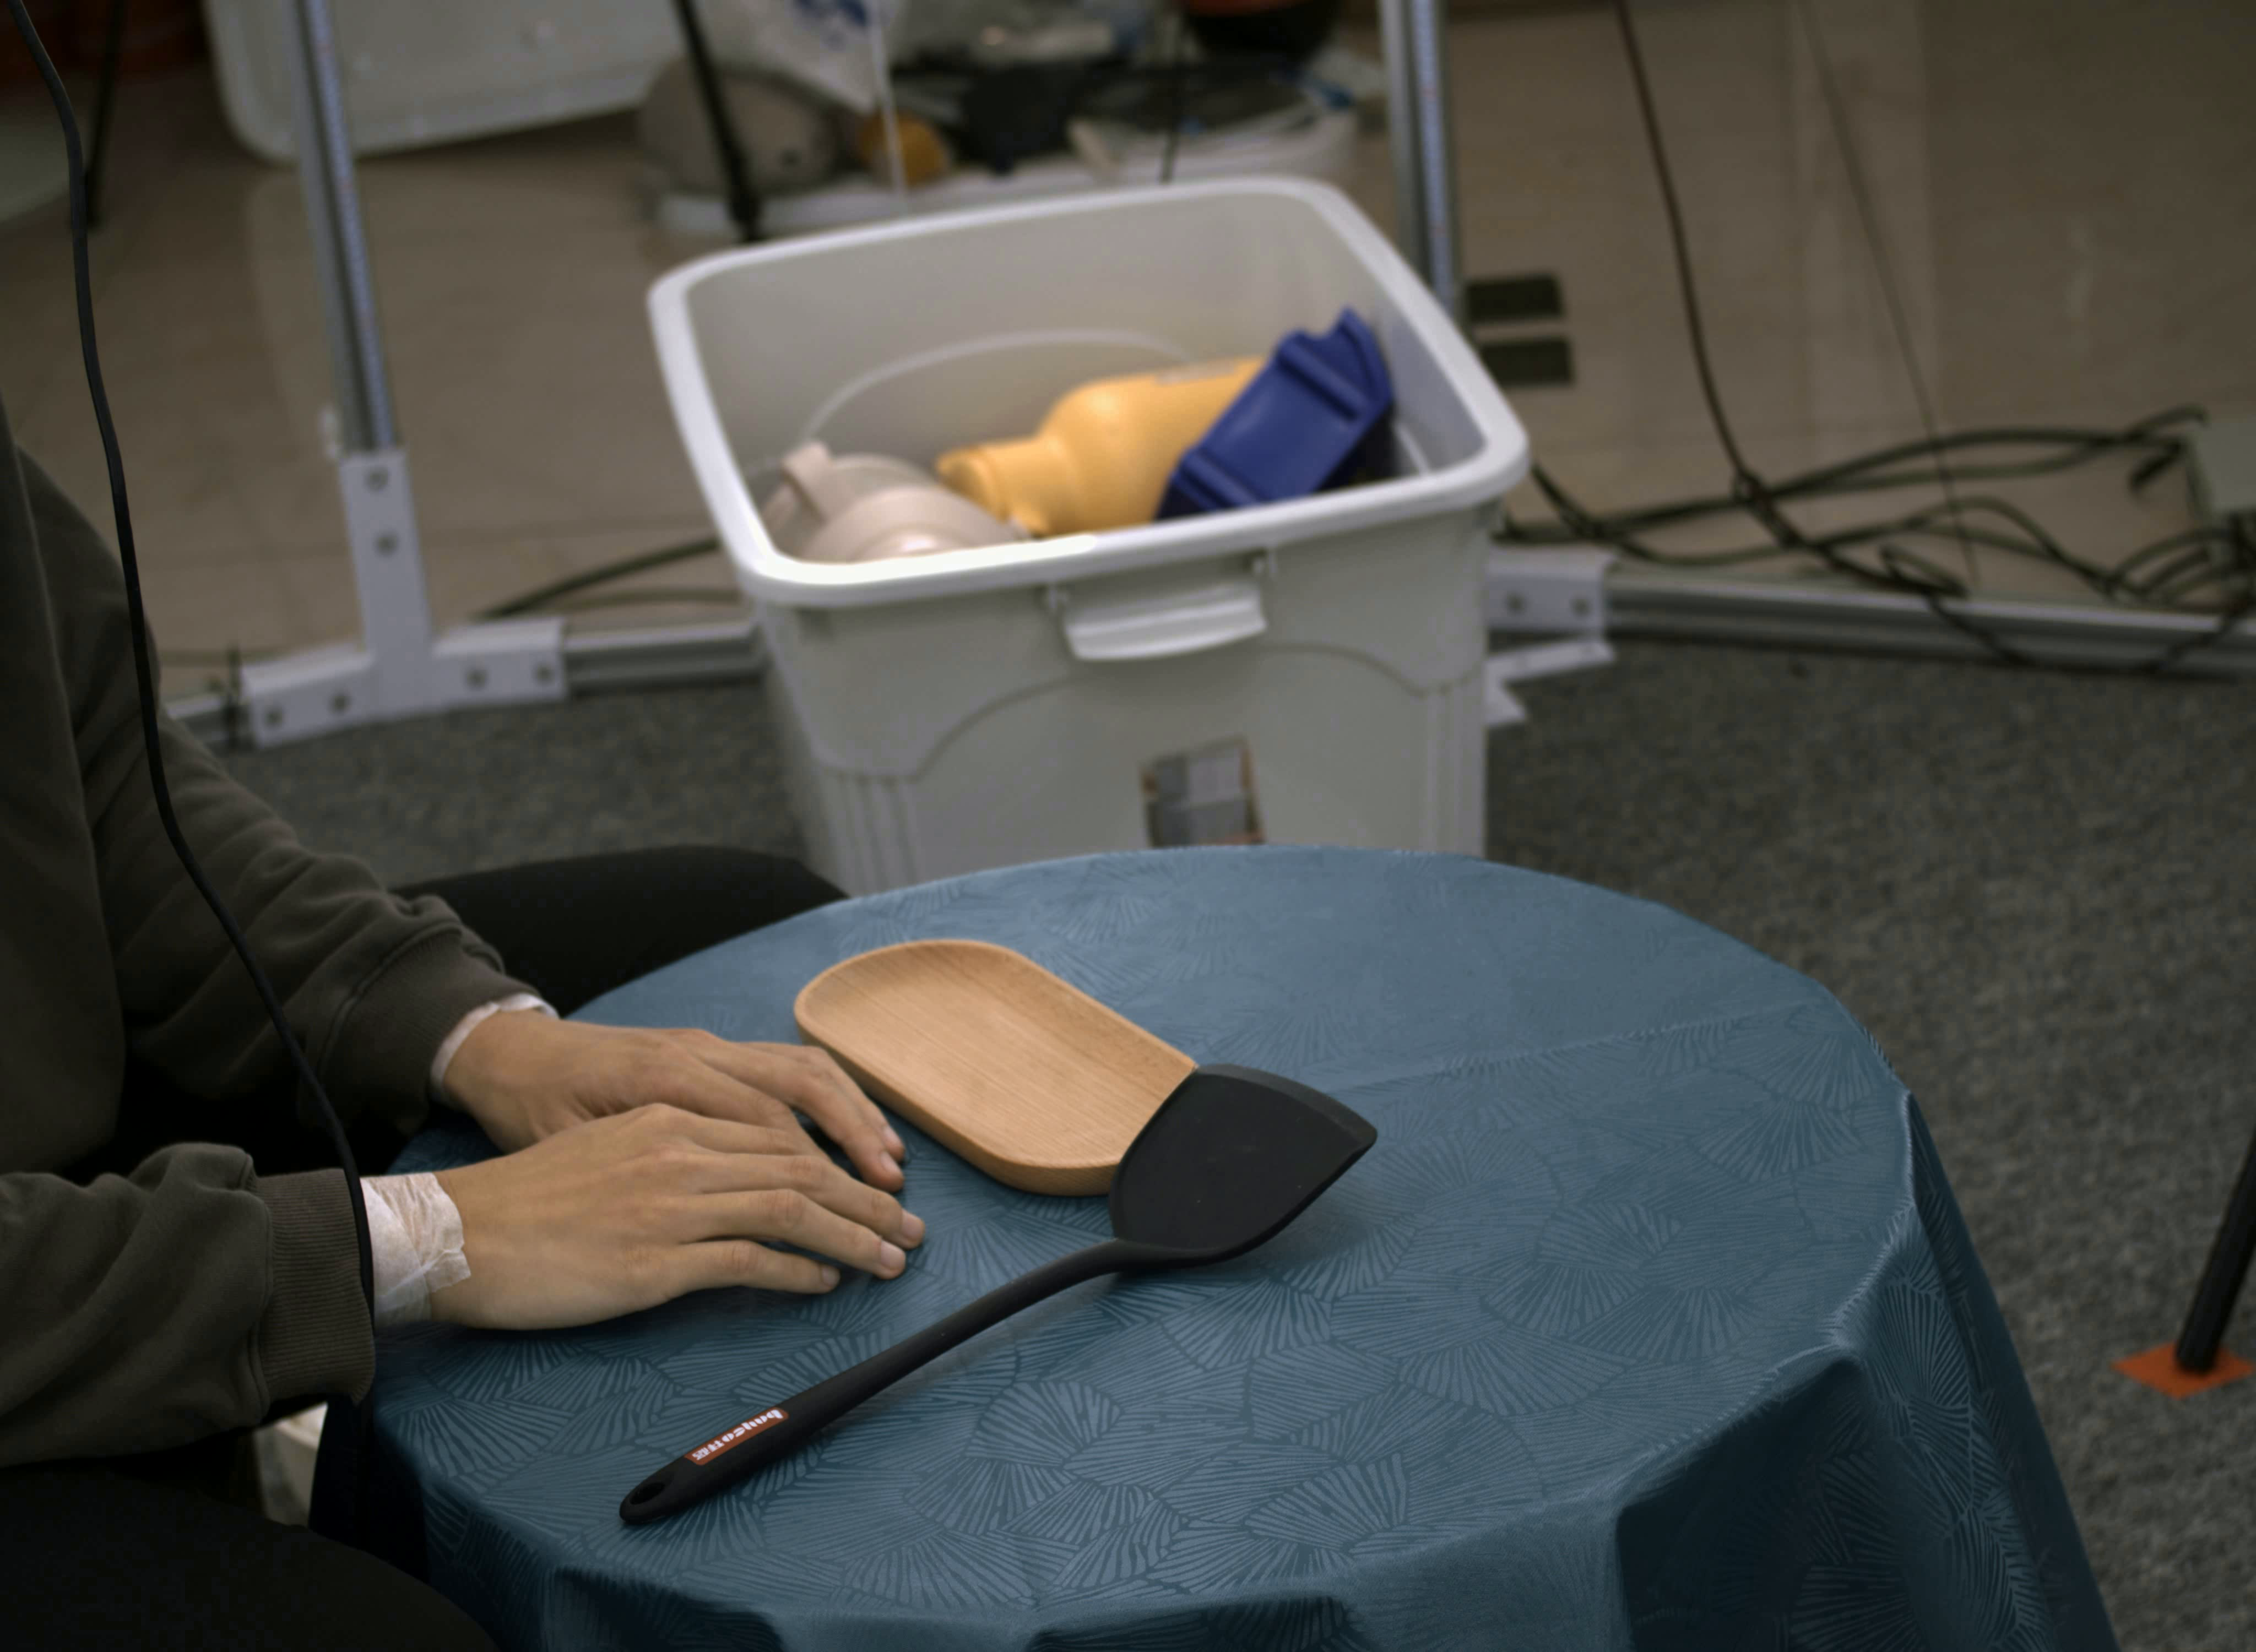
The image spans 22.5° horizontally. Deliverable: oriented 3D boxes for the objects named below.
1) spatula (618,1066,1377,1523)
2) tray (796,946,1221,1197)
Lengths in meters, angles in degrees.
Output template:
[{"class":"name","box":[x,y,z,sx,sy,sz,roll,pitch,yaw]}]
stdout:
[{"class":"spatula","box":[-0.054,0.171,2.047,0.324,0.041,0.099,-24,29,-33]},{"class":"tray","box":[-0.048,0.095,2.234,0.101,0.020,0.228,-21,30,-27]}]
